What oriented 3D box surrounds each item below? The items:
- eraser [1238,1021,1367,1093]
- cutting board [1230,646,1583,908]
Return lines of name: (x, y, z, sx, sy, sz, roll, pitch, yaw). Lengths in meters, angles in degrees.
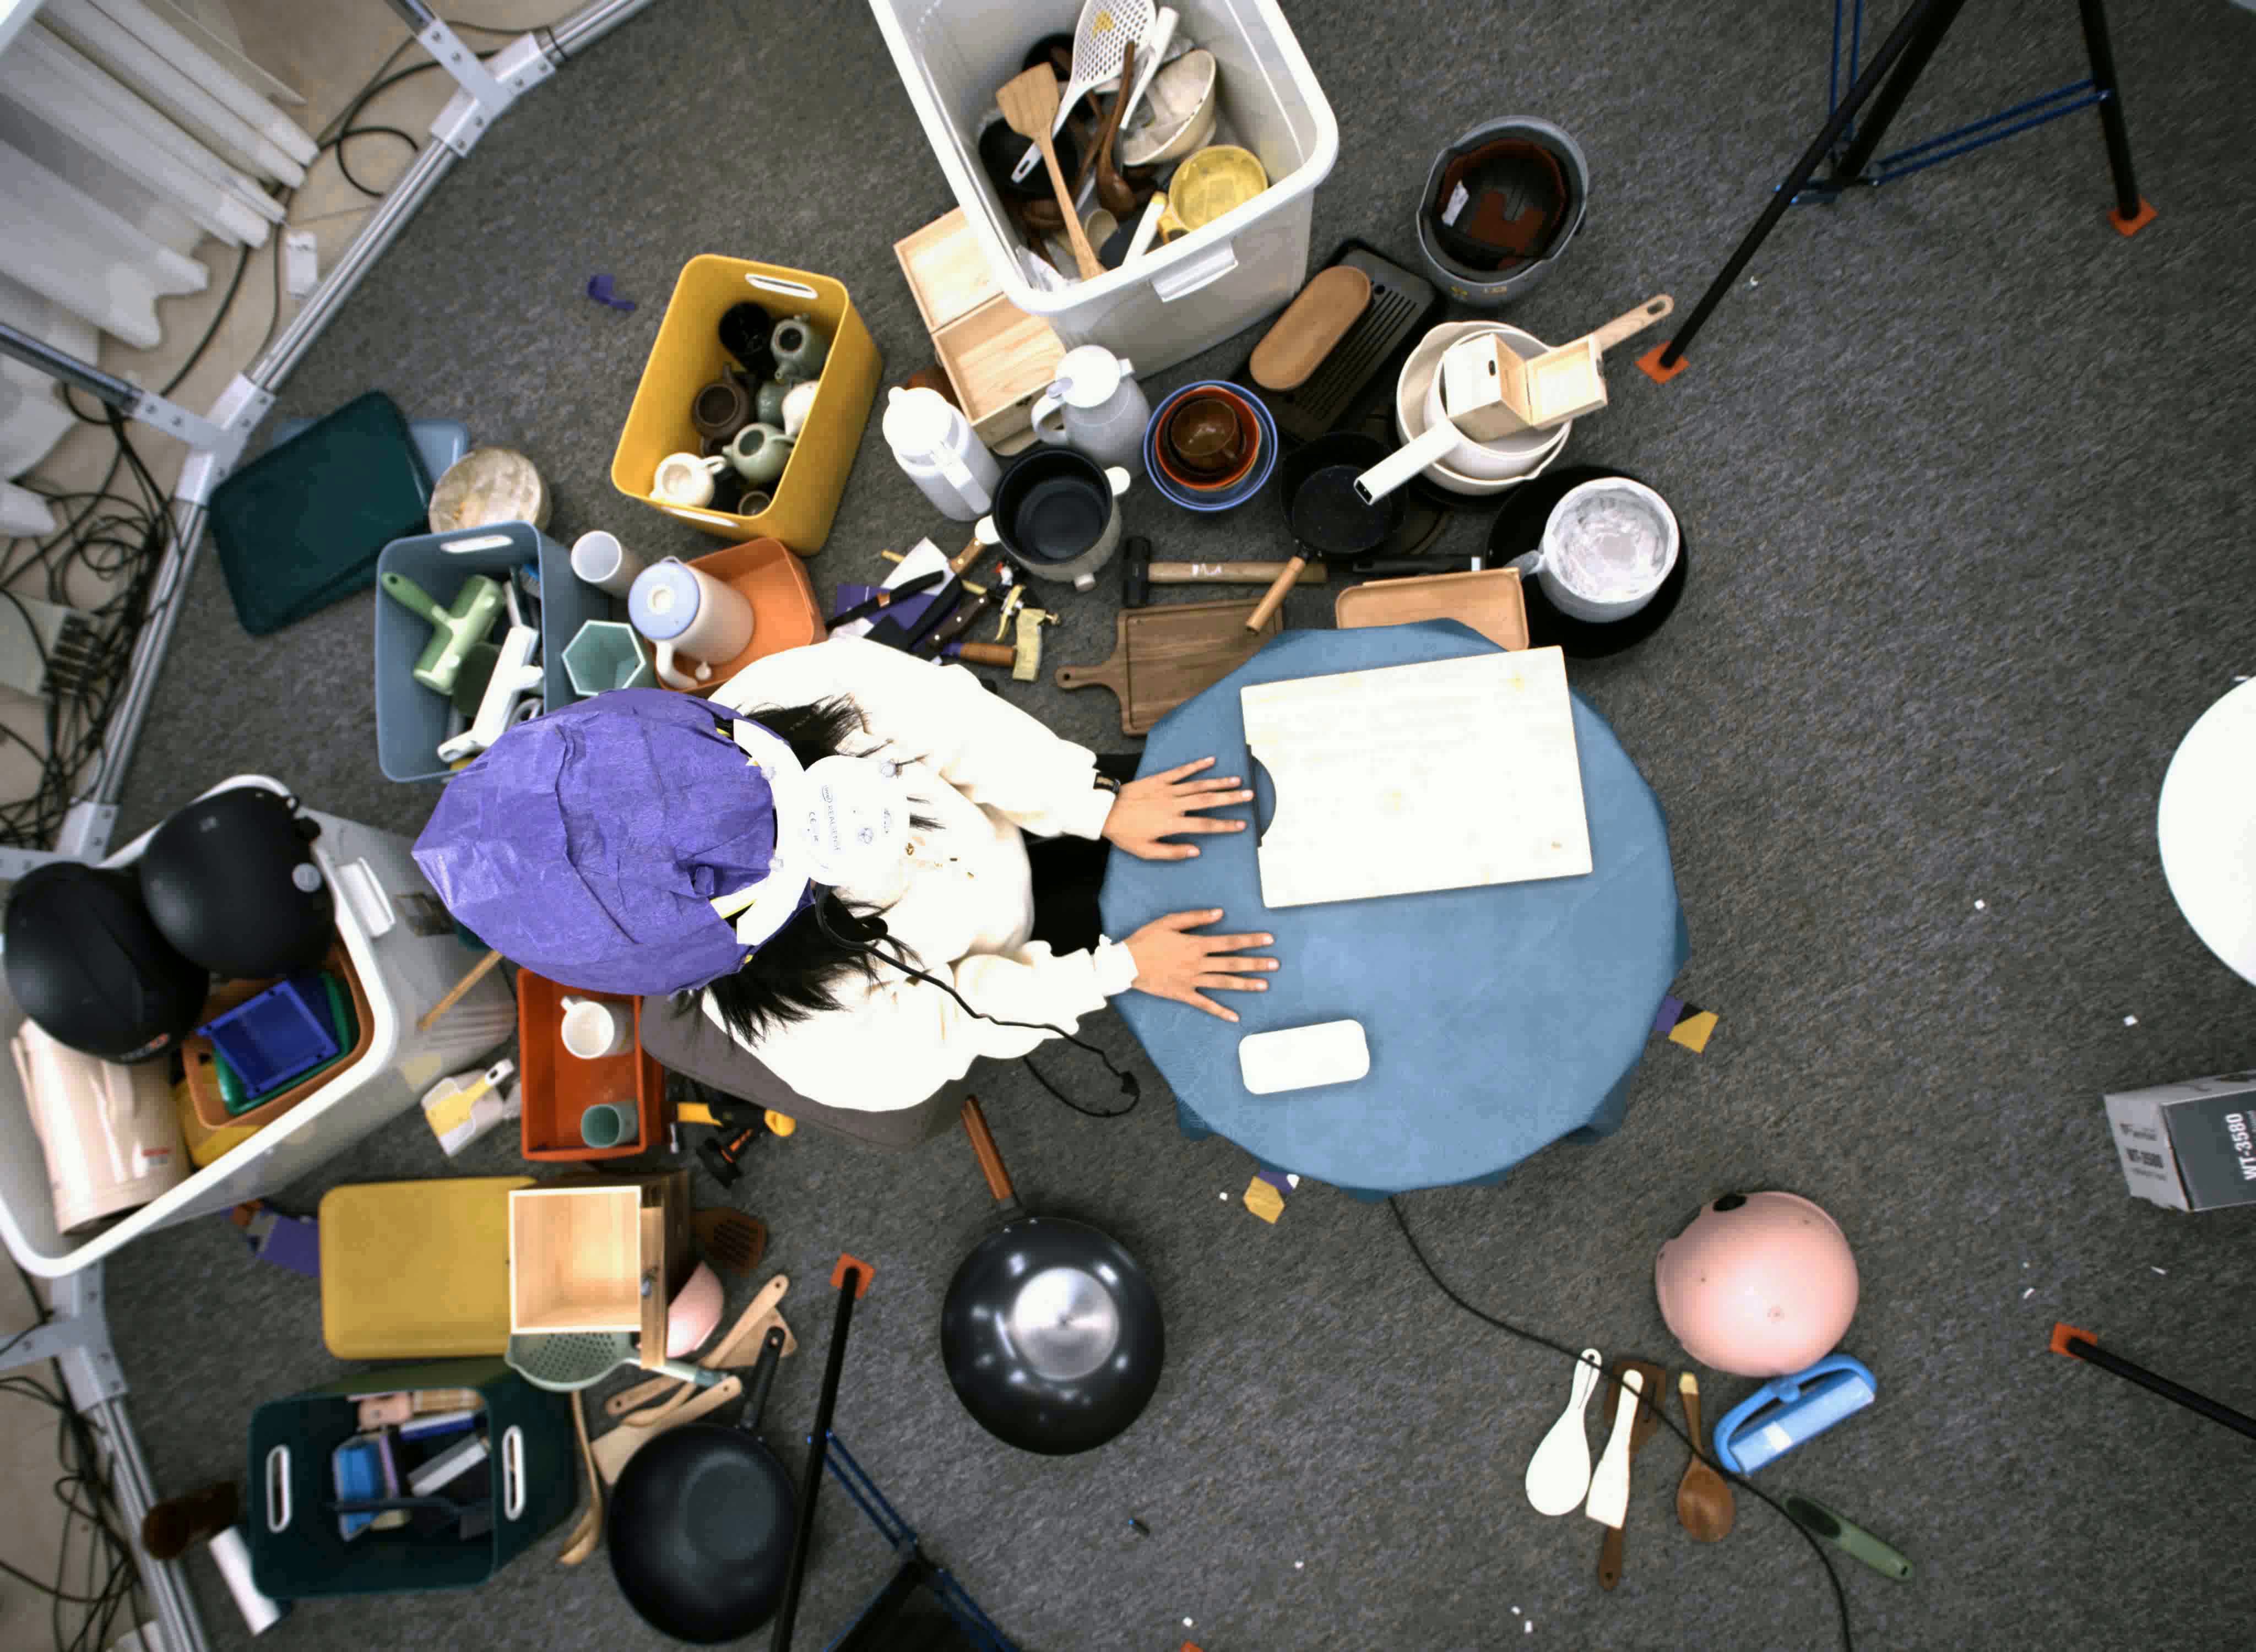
eraser: (0.183, 0.239, 1.452, 0.132, 0.034, 0.063, -9, 84, 9)
cutting board: (0.294, -0.052, 1.455, 0.350, 0.023, 0.249, -8, 85, 10)
